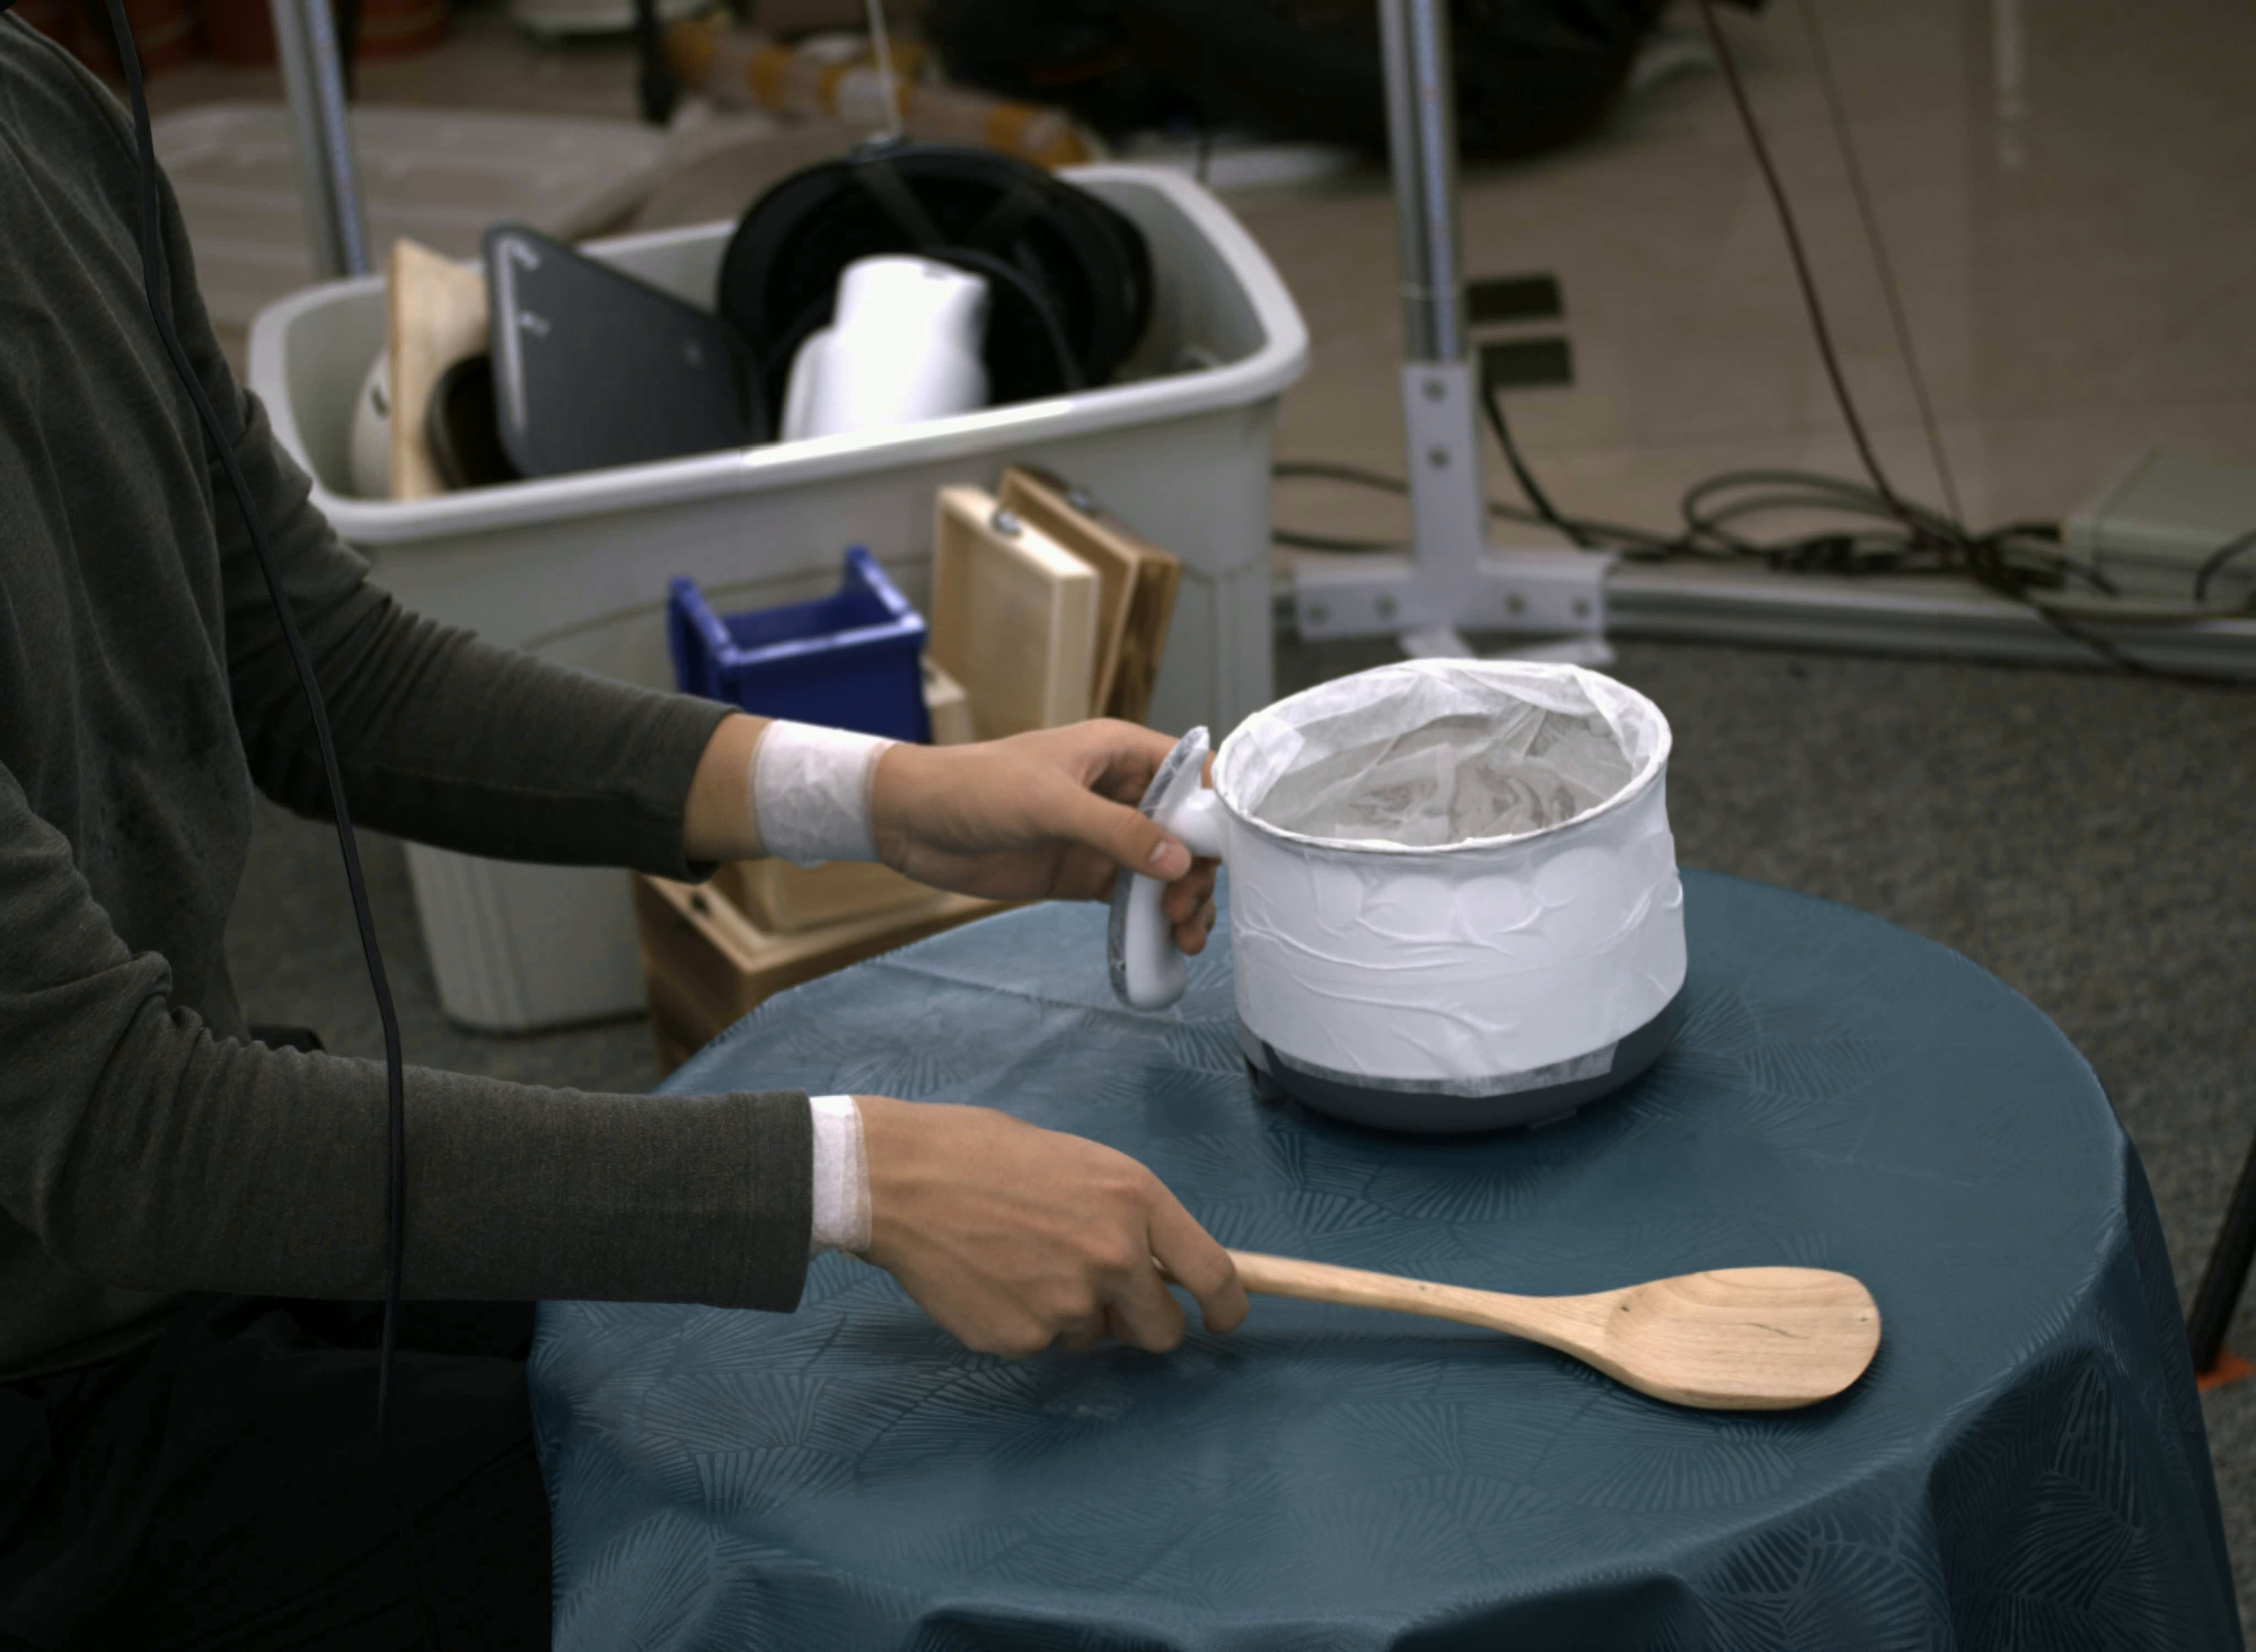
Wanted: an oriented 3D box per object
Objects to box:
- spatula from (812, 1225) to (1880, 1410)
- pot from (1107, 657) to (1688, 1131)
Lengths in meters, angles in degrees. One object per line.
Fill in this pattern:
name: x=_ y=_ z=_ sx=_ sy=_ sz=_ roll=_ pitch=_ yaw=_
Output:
spatula: x=0.072 y=0.169 z=2.024 sx=0.389 sy=0.019 sz=0.094 roll=5 pitch=24 yaw=13
pot: x=0.100 y=0.027 z=2.202 sx=0.233 sy=0.139 sz=0.176 roll=3 pitch=26 yaw=19
